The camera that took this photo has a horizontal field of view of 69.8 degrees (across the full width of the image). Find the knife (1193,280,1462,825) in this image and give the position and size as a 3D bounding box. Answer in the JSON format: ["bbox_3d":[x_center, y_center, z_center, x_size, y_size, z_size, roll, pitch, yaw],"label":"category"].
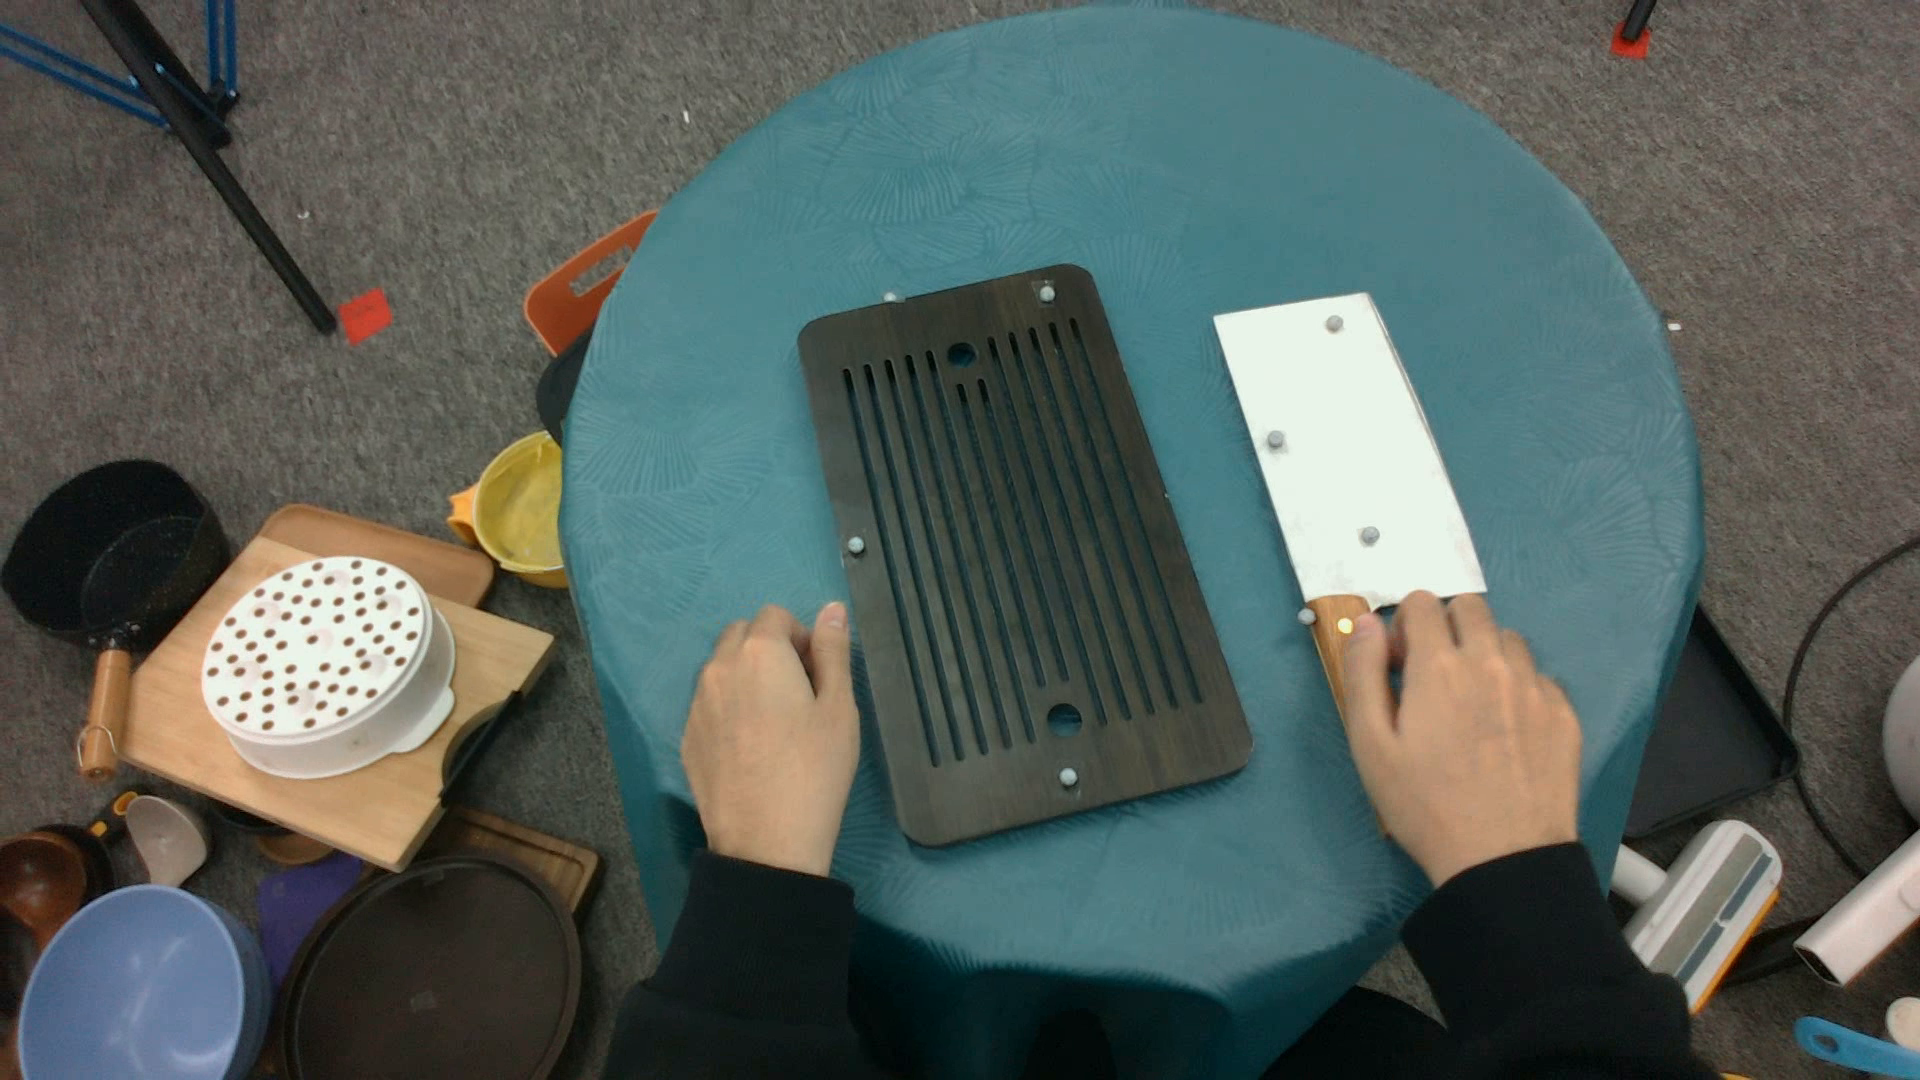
[{"bbox_3d":[0.198,-0.010,0.693,0.093,0.021,0.307,-9,61,-5],"label":"knife"}]

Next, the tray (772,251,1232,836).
[{"bbox_3d":[0.012,-0.012,0.701,0.170,0.018,0.307,-13,63,-4],"label":"tray"}]
